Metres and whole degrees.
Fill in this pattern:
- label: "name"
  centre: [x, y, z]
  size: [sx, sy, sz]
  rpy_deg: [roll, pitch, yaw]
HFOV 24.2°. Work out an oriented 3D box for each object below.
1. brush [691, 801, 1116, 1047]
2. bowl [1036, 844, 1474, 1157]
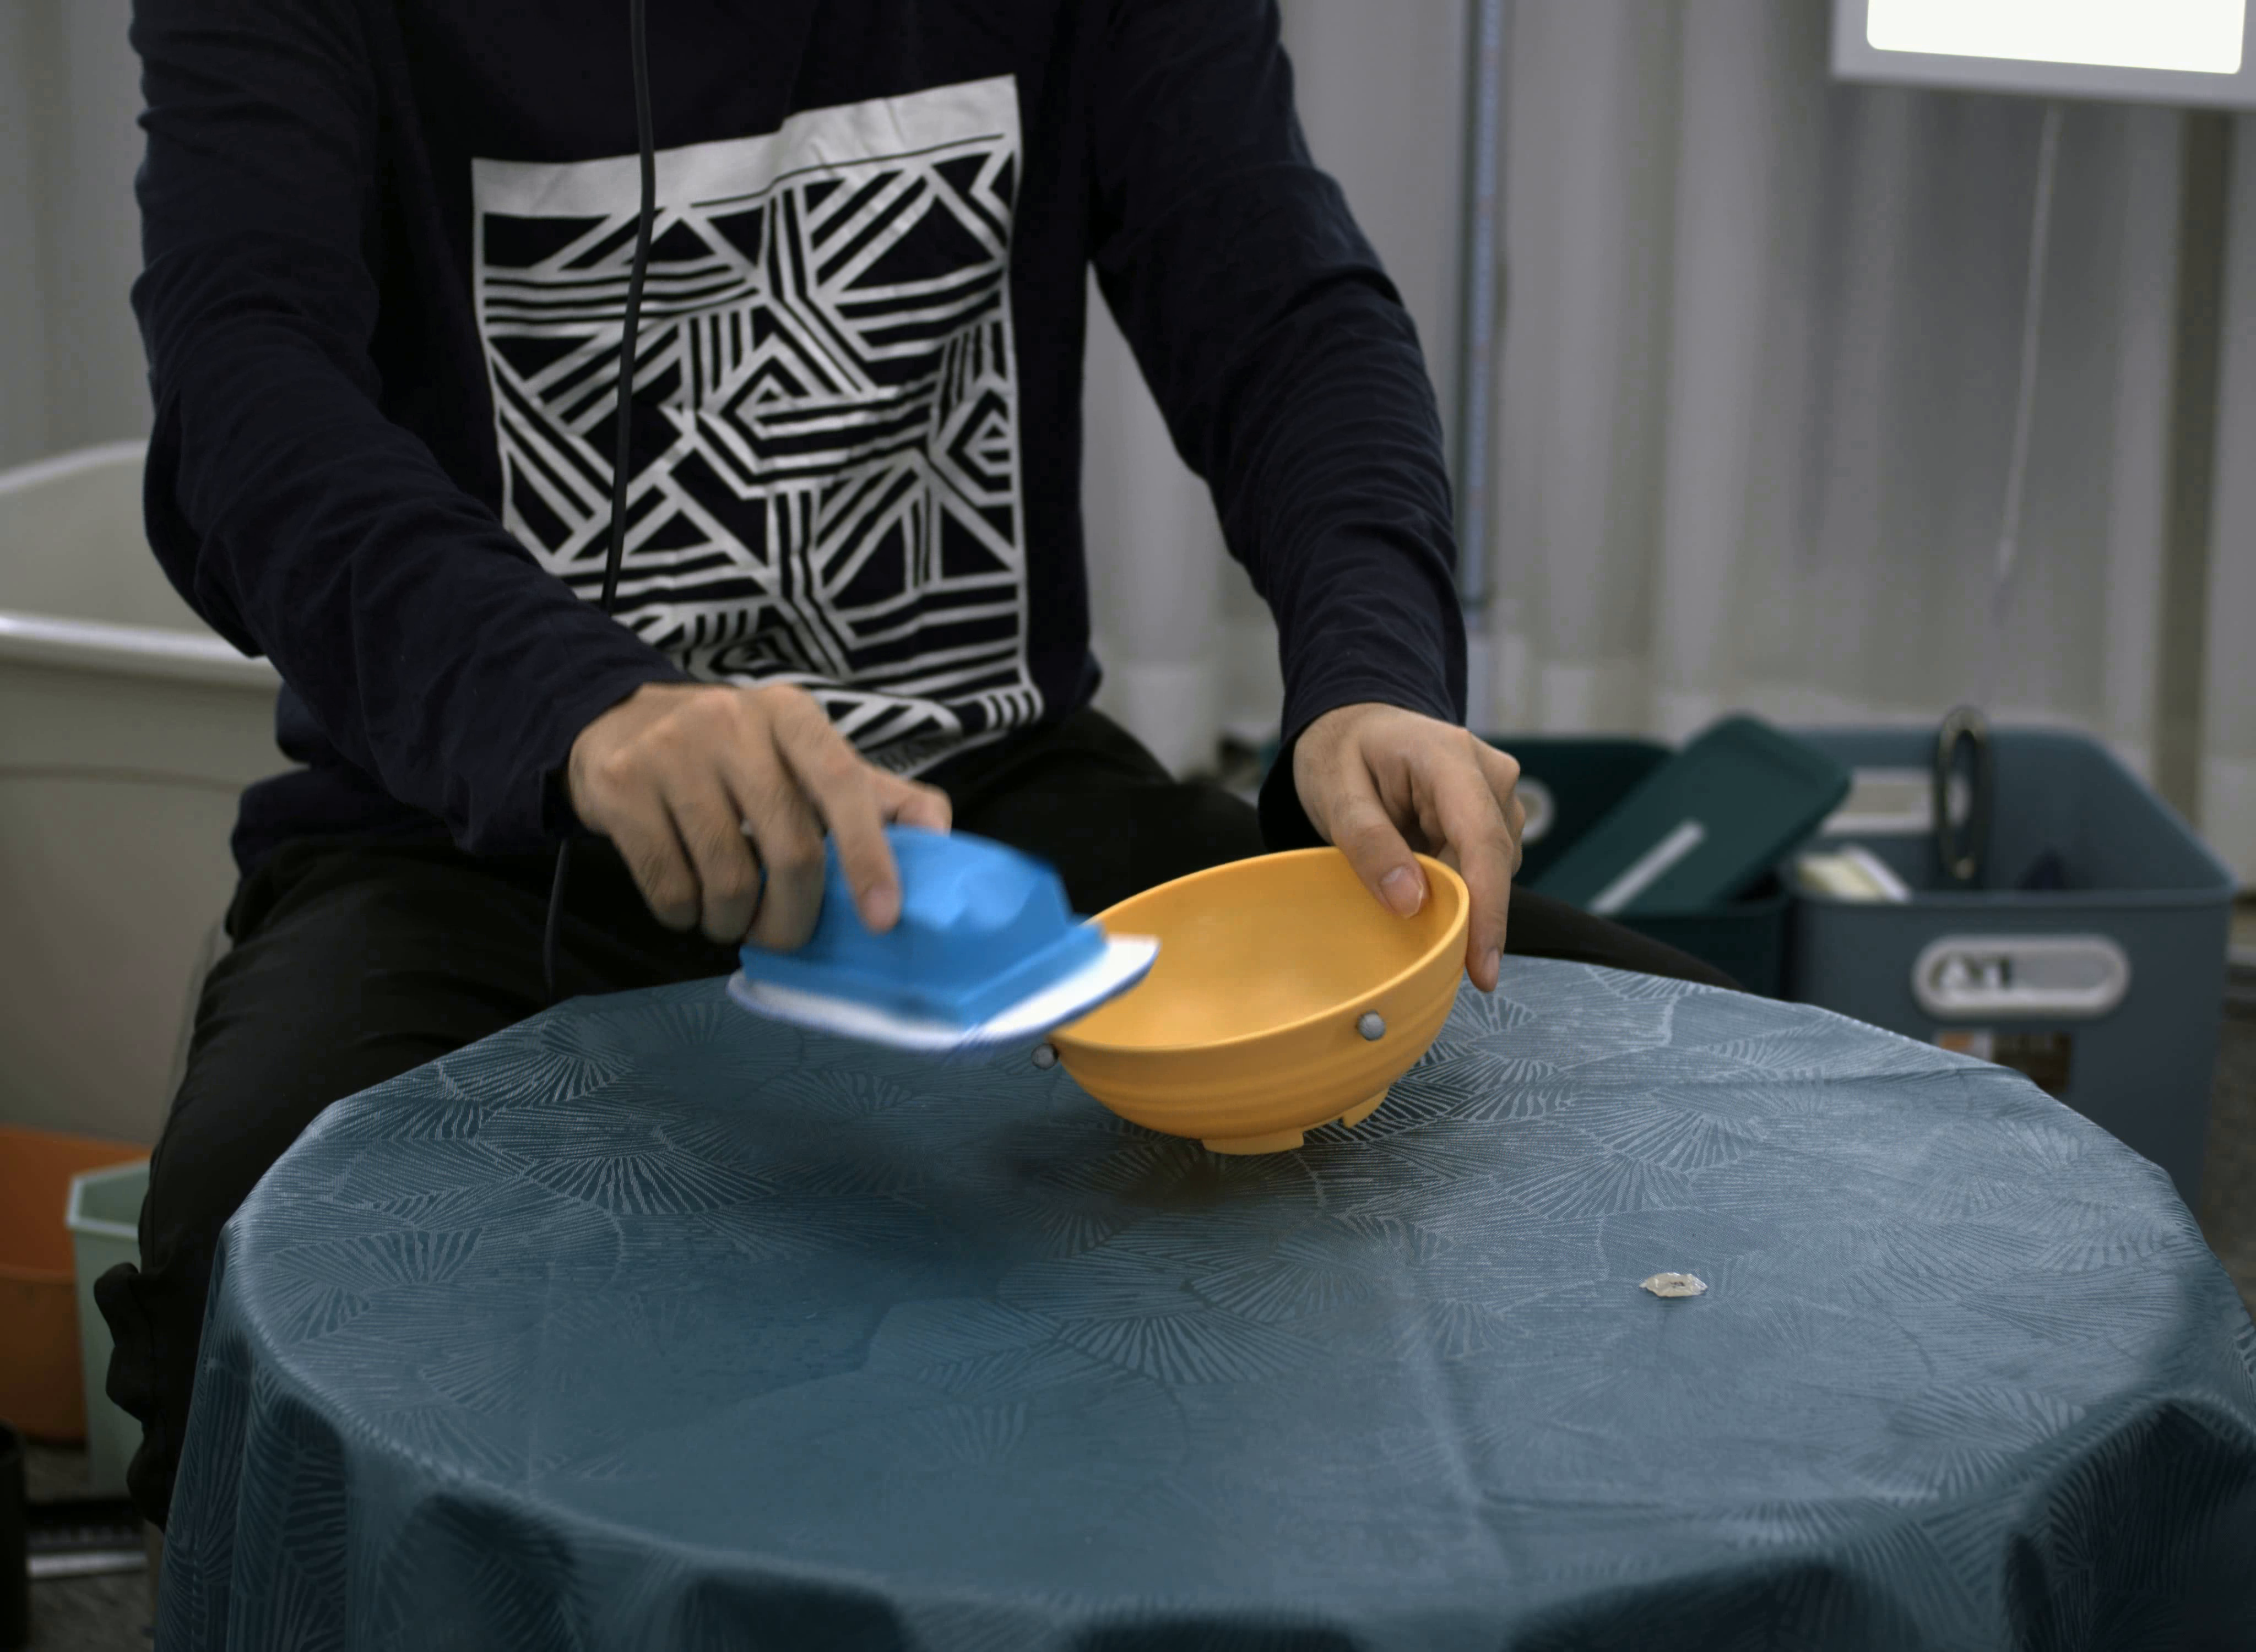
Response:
- label: "brush"
  centre: [-0.071, 0.028, 1.594]
  size: [0.084, 0.056, 0.142]
  rpy_deg: [-22, 22, -30]
- label: "bowl"
  centre: [0.043, 0.063, 1.667]
  size: [0.145, 0.061, 0.144]
  rpy_deg: [-9, 23, 4]
